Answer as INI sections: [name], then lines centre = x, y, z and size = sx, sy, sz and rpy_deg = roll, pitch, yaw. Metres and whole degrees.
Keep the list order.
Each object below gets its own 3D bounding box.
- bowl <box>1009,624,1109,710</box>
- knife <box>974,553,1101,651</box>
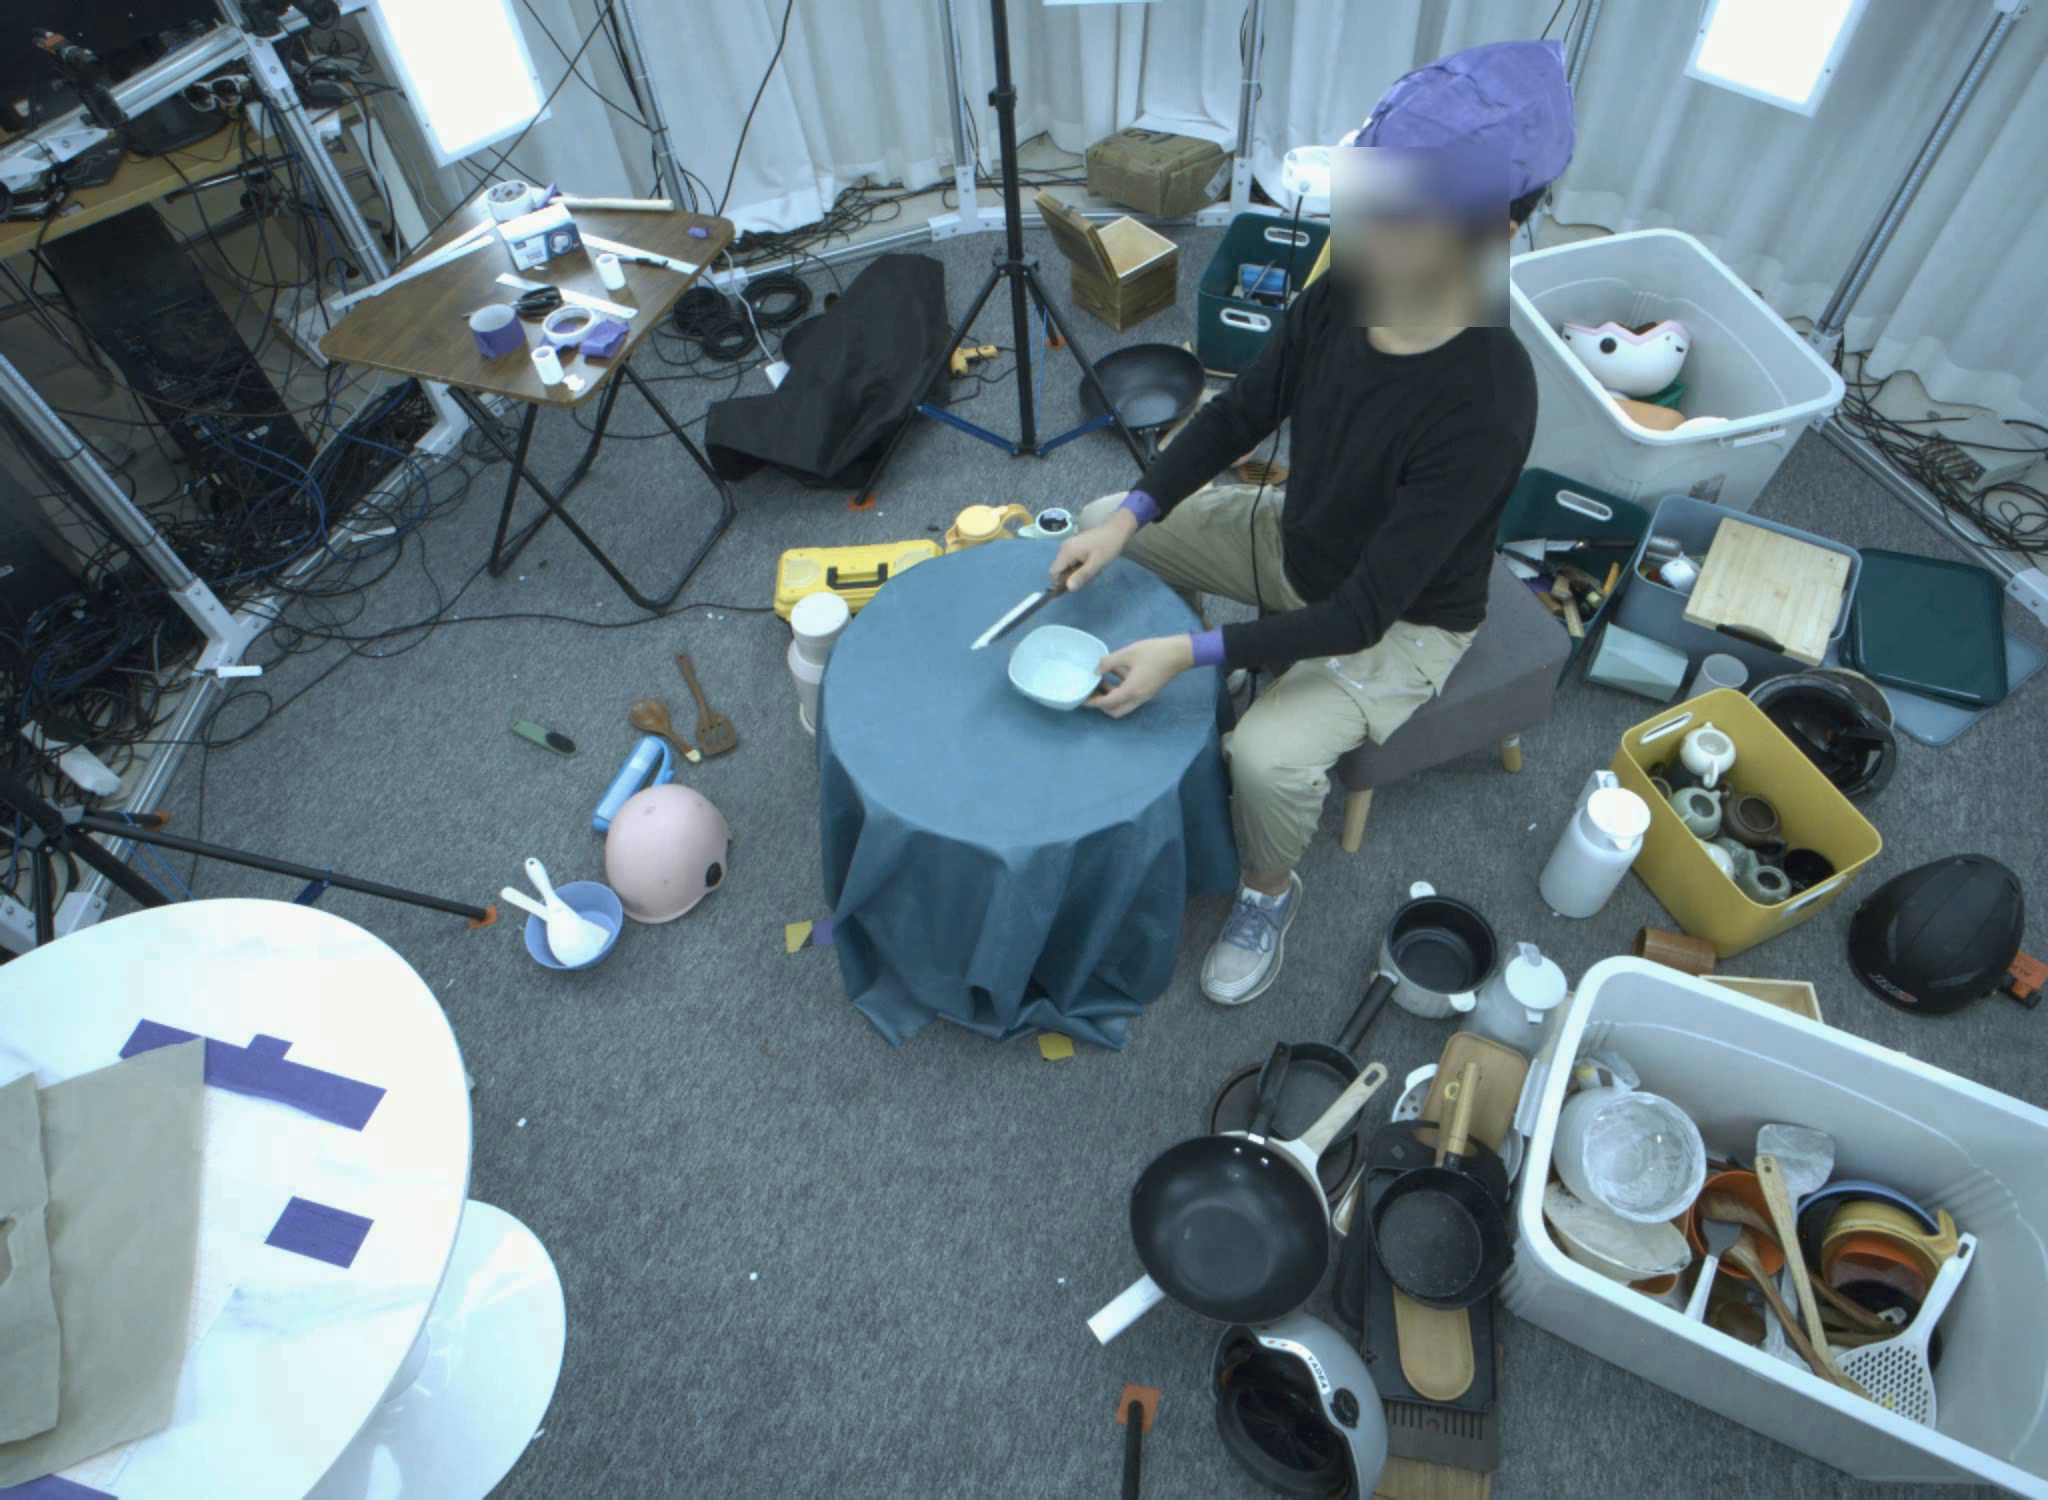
[bowl]
centre = 0.053, -0.113, 1.828
size = 0.151, 0.059, 0.150
rpy_deg = -1, 56, 3
[knife]
centre = 0.022, -0.223, 1.844
size = 0.049, 0.020, 0.291
rpy_deg = 10, 41, 44
